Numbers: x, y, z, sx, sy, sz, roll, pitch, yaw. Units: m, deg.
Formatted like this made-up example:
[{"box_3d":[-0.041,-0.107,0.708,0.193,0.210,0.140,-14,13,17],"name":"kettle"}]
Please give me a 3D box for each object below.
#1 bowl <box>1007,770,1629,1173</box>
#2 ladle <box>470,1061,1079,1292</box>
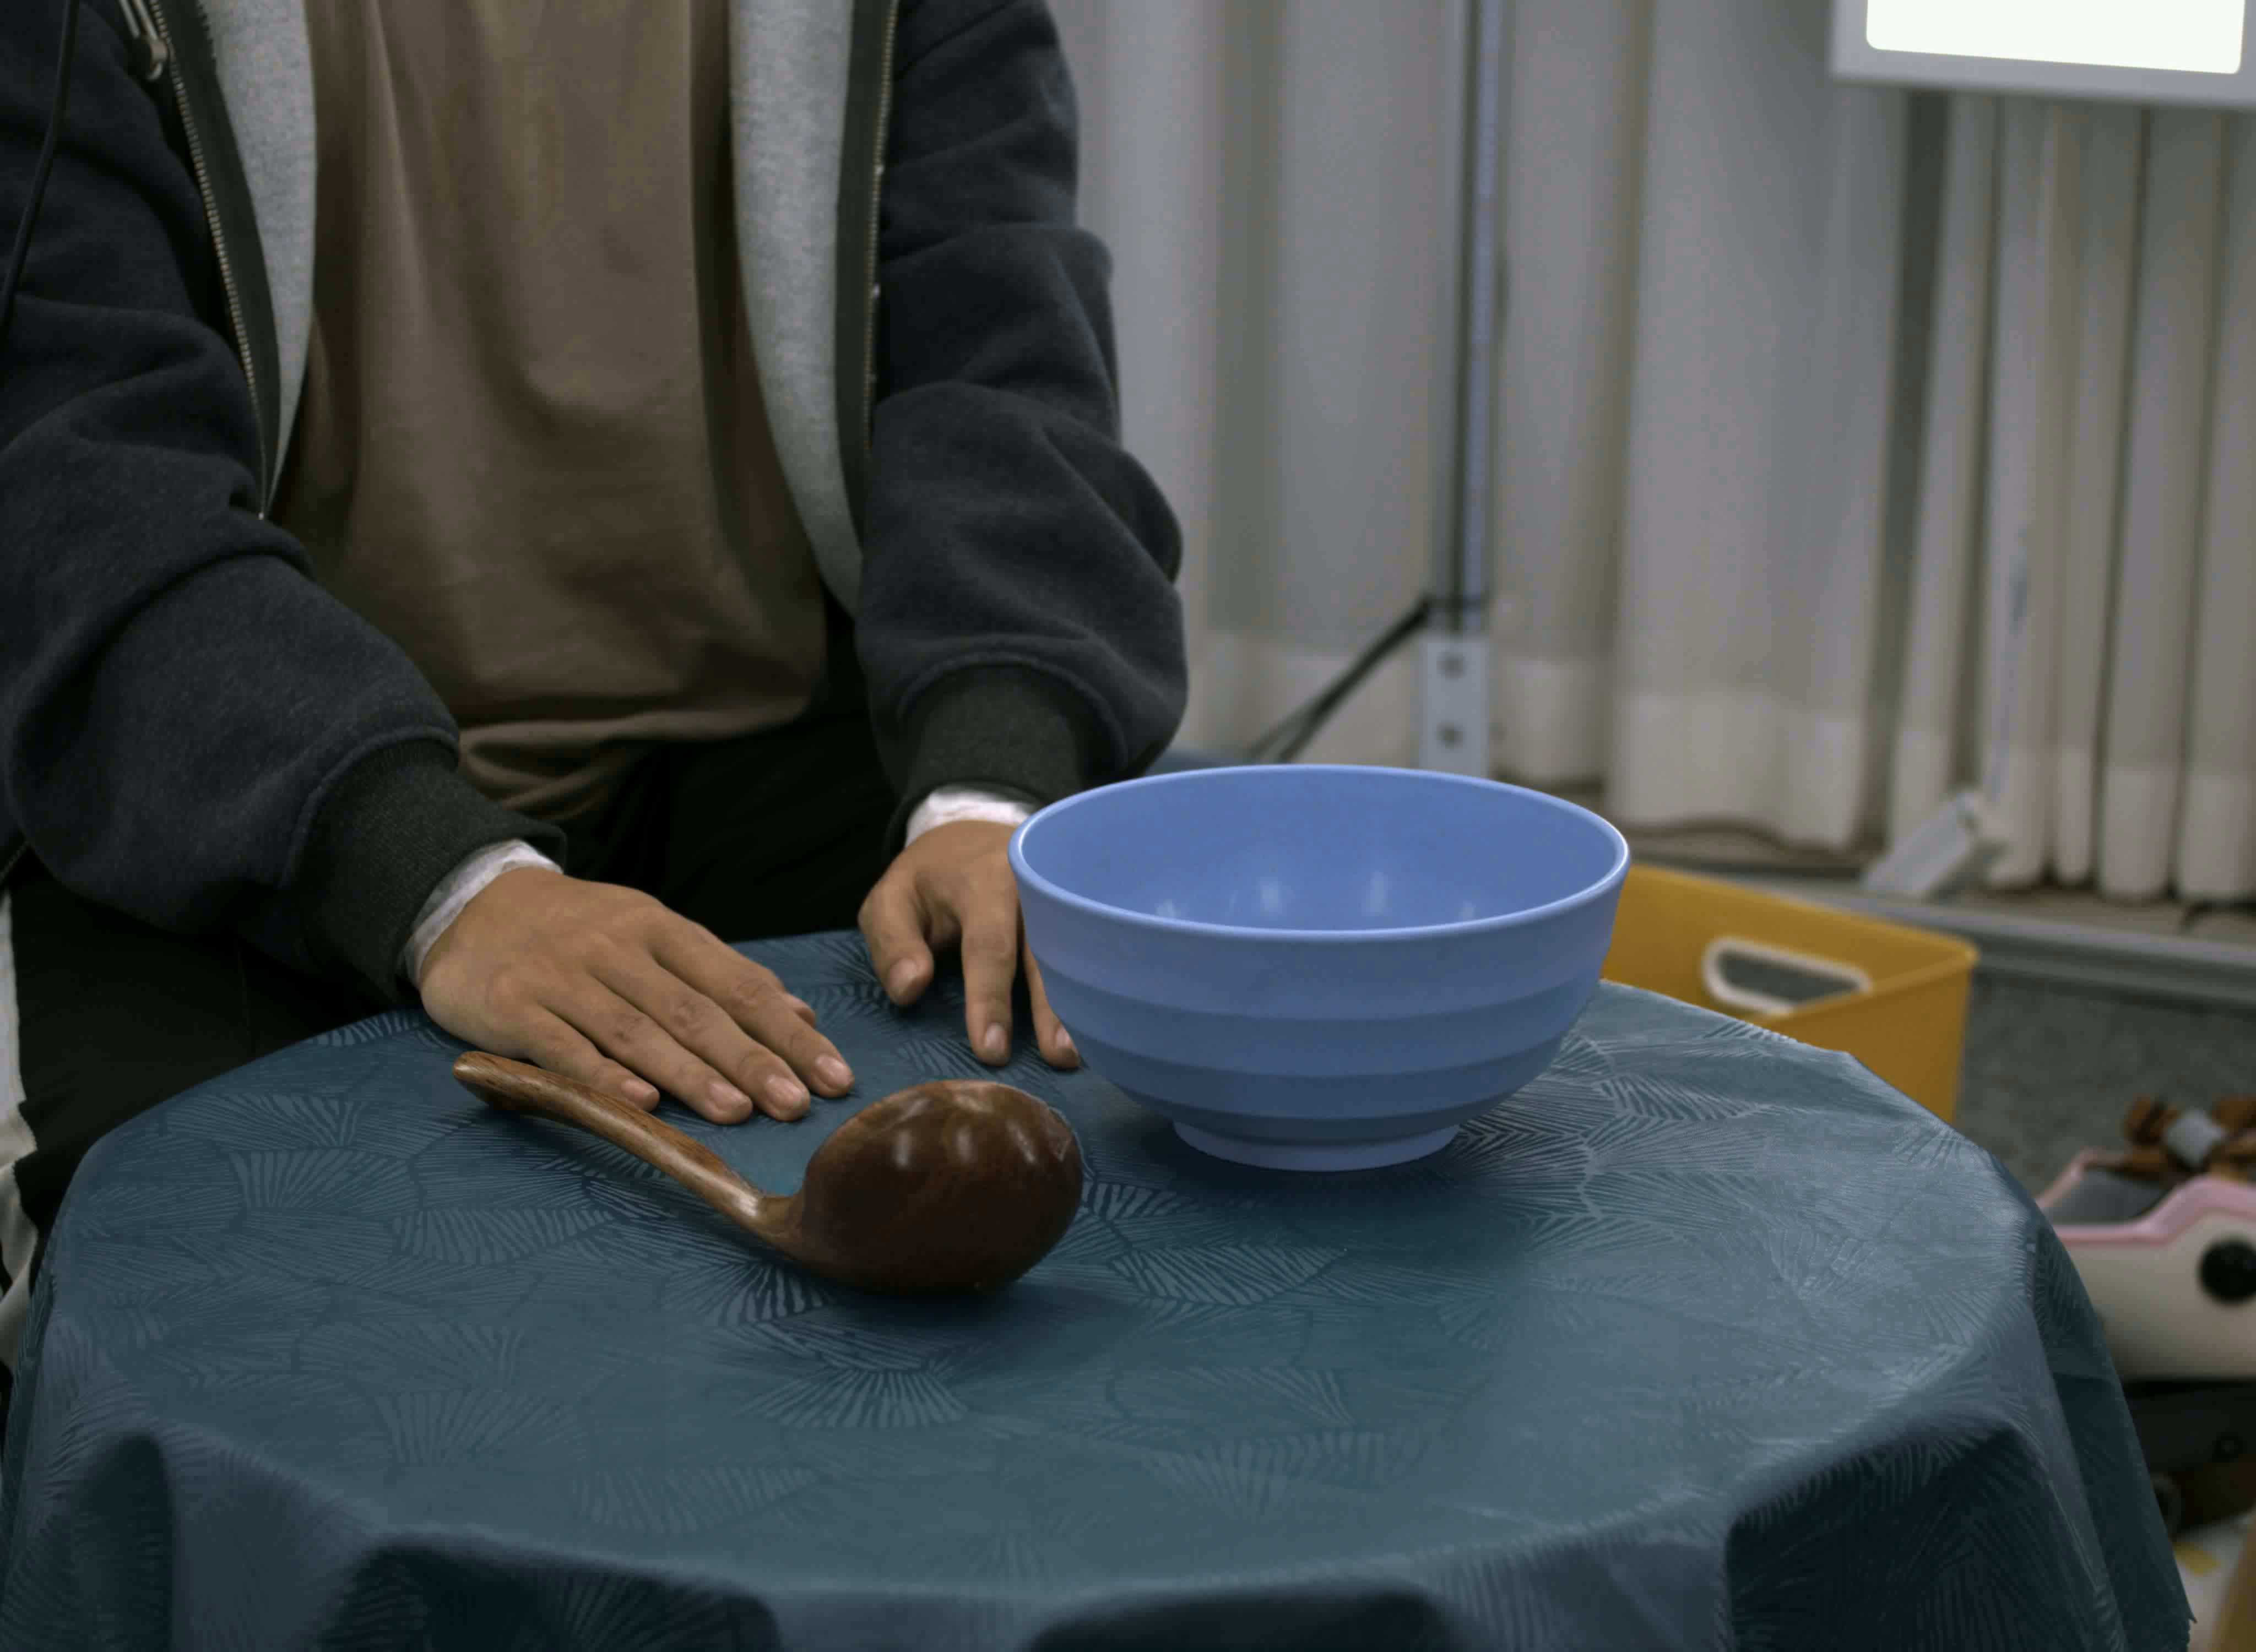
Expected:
[{"box_3d":[0.060,0.051,1.671,0.196,0.096,0.195,0,15,1],"name":"bowl"},{"box_3d":[-0.115,0.082,1.596,0.083,0.076,0.270,38,-11,-36],"name":"ladle"}]
